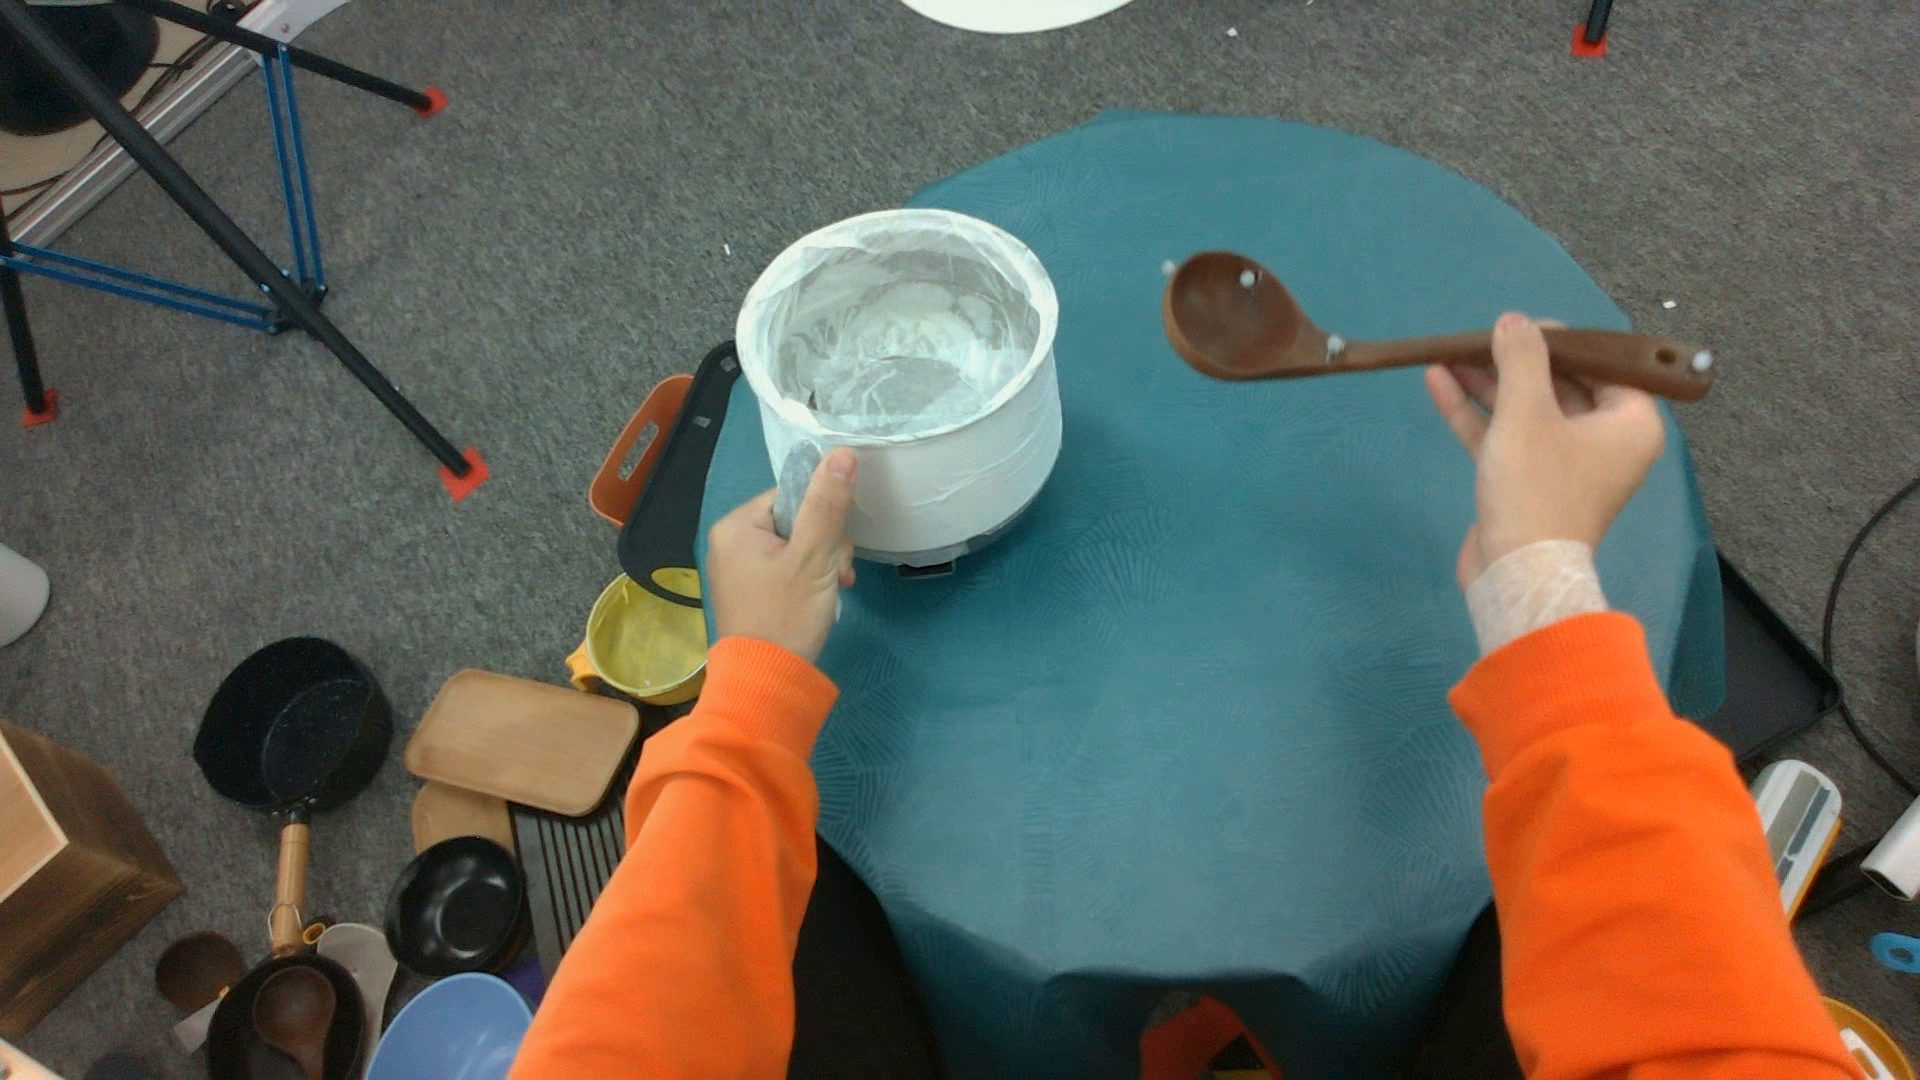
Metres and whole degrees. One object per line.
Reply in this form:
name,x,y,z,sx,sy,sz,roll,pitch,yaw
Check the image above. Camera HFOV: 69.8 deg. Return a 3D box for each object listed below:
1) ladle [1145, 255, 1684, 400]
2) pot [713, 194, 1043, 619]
ladle,0.215,-0.104,0.685,0.260,0.065,0.077,9,59,35
pot,-0.053,-0.072,0.789,0.178,0.136,0.235,16,58,18
